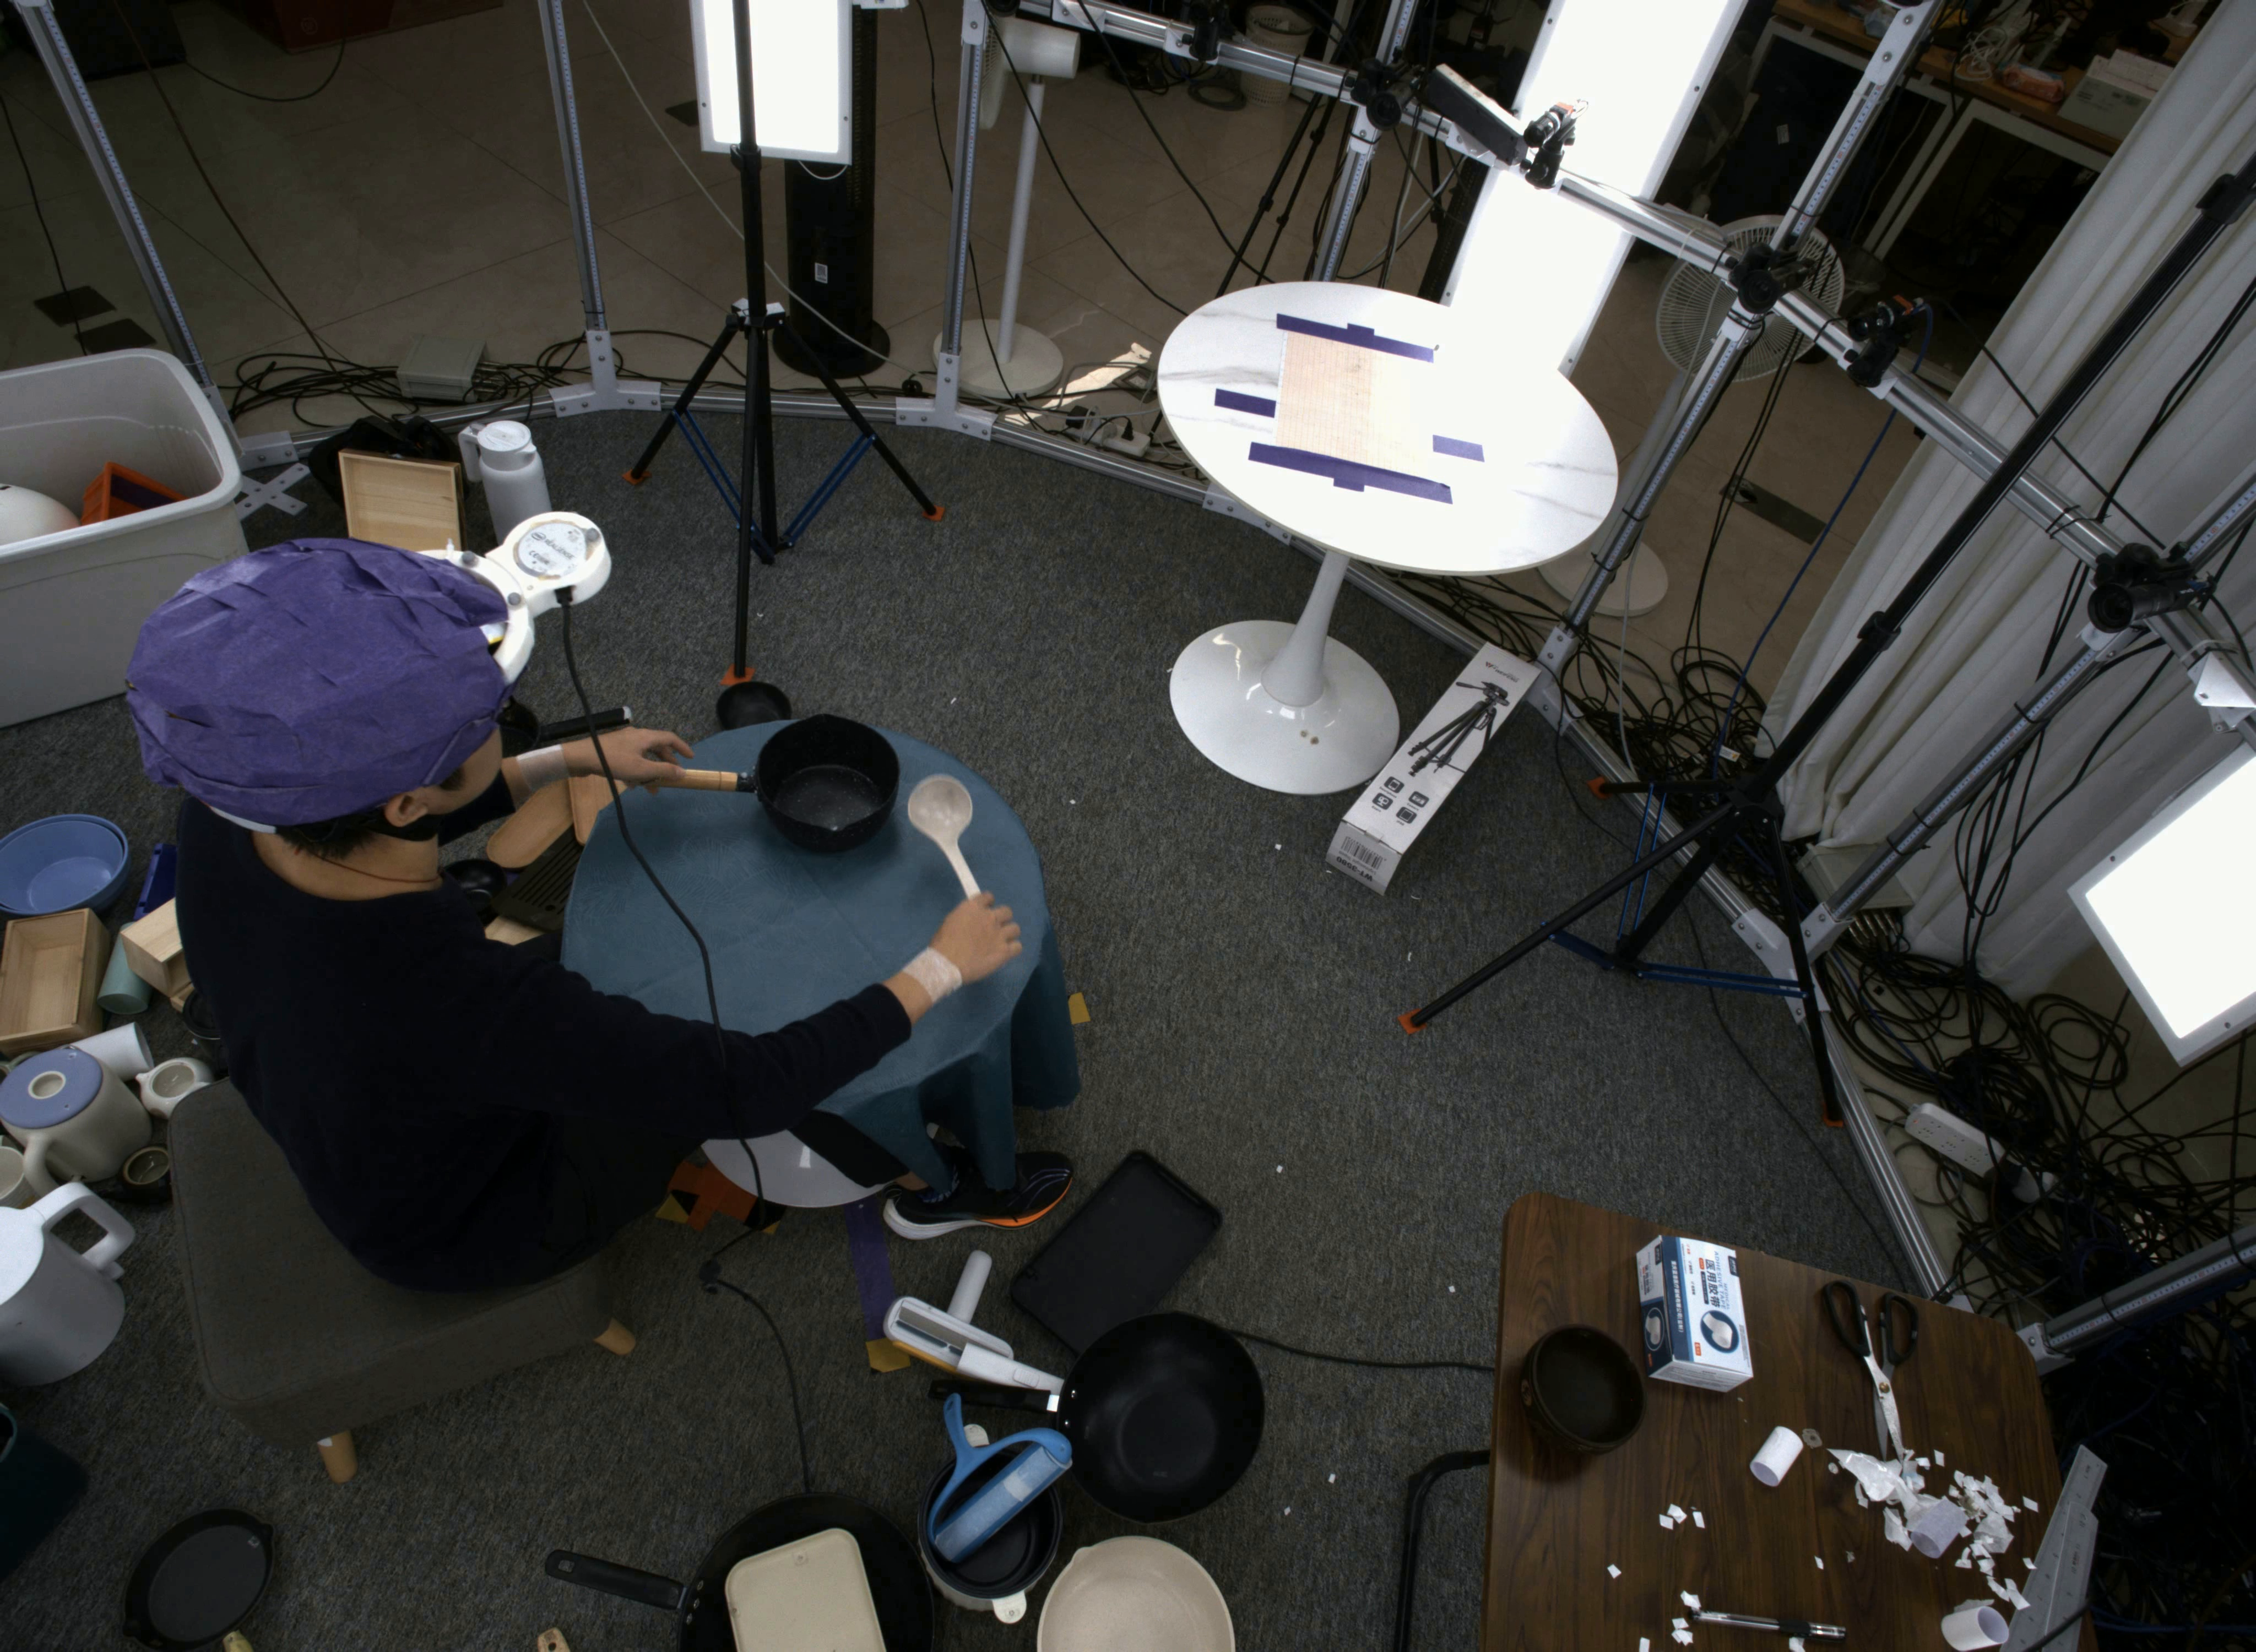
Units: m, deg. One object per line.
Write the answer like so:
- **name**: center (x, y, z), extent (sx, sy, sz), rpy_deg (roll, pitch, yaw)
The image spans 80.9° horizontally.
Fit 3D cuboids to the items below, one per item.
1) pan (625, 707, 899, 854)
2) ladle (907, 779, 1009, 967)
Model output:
- **pan**: center (-0.469, -0.050, 1.669), extent (0.344, 0.110, 0.203), rpy_deg (-5, 56, -20)
- **ladle**: center (-0.195, 0.052, 1.603), extent (0.091, 0.070, 0.266), rpy_deg (0, 41, -37)
